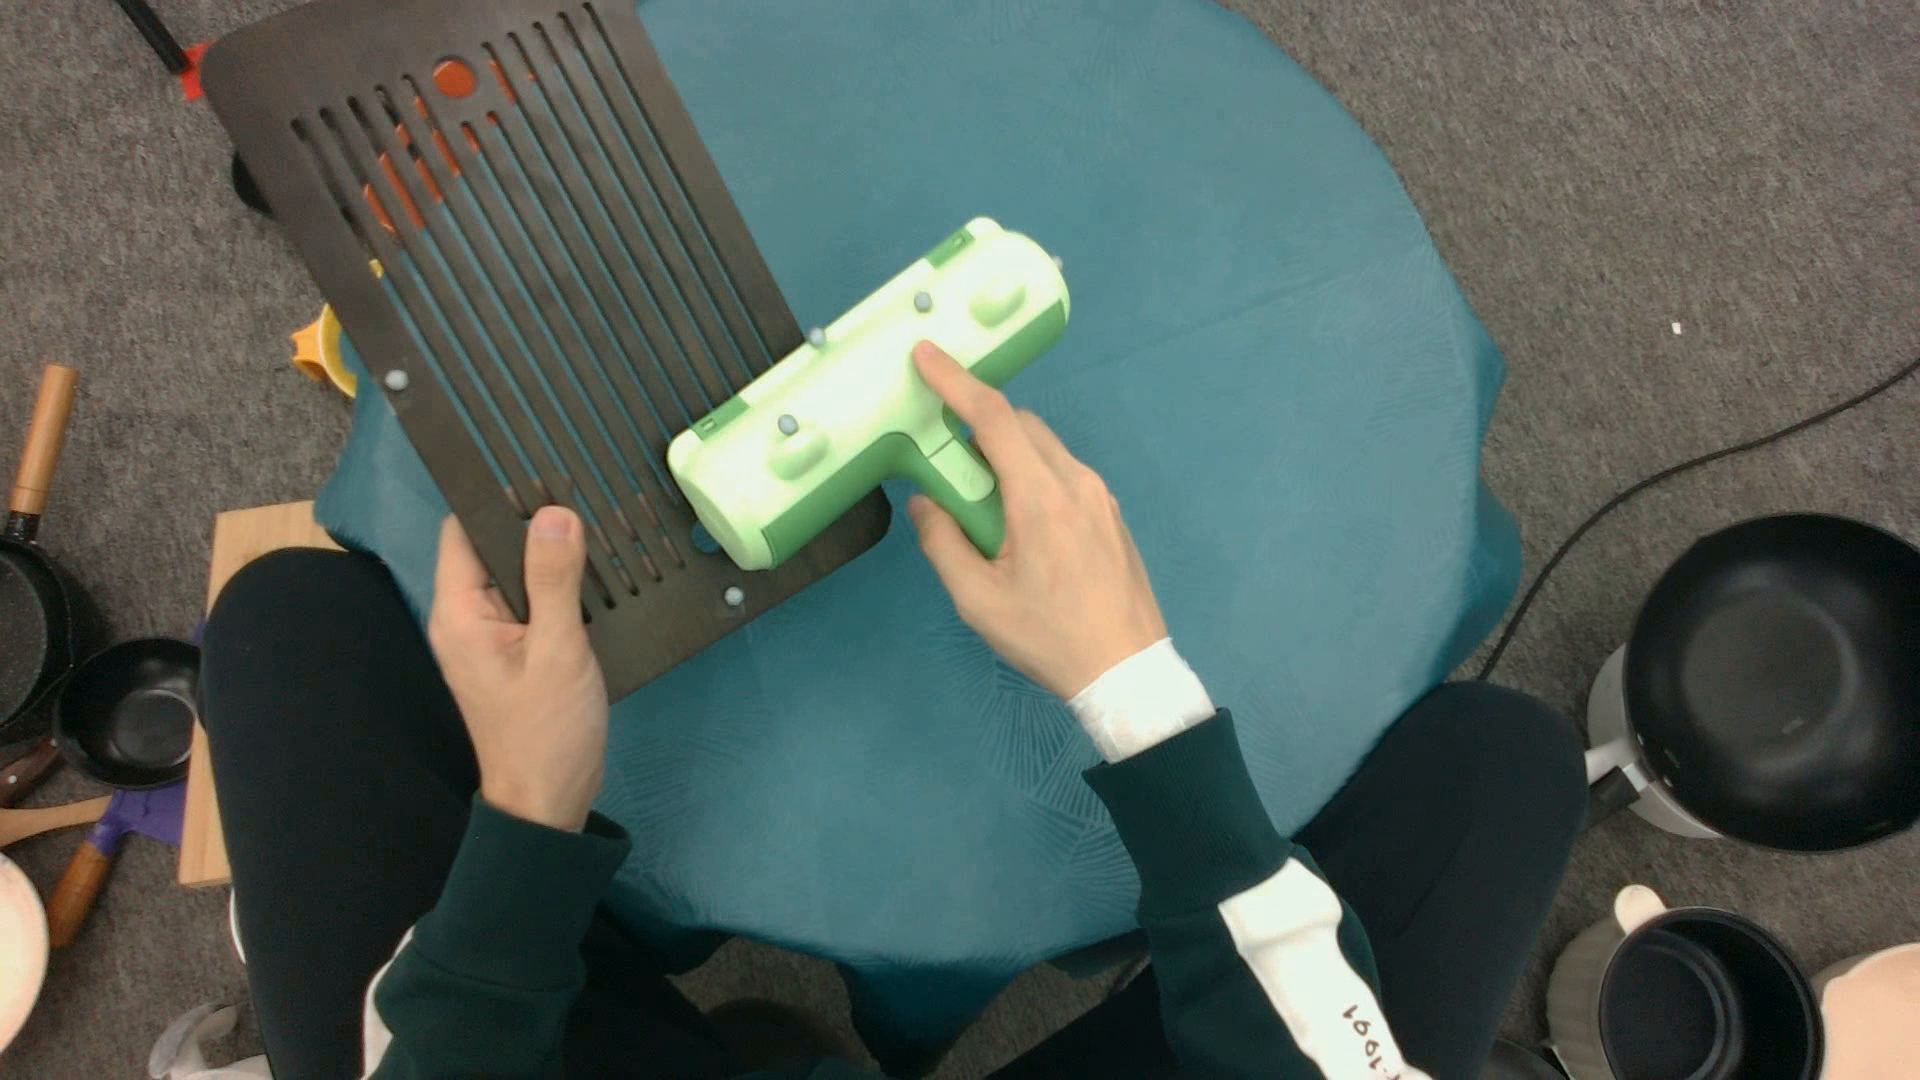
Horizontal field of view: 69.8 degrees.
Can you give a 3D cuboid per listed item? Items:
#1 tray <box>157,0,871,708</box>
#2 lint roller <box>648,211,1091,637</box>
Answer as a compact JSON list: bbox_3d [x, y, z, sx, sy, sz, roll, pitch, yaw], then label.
[{"bbox_3d":[-0.176,-0.095,0.592,0.171,0.018,0.305,-34,105,-22],"label":"tray"},{"bbox_3d":[-0.004,-0.035,0.599,0.199,0.082,0.183,-41,79,-22],"label":"lint roller"}]
